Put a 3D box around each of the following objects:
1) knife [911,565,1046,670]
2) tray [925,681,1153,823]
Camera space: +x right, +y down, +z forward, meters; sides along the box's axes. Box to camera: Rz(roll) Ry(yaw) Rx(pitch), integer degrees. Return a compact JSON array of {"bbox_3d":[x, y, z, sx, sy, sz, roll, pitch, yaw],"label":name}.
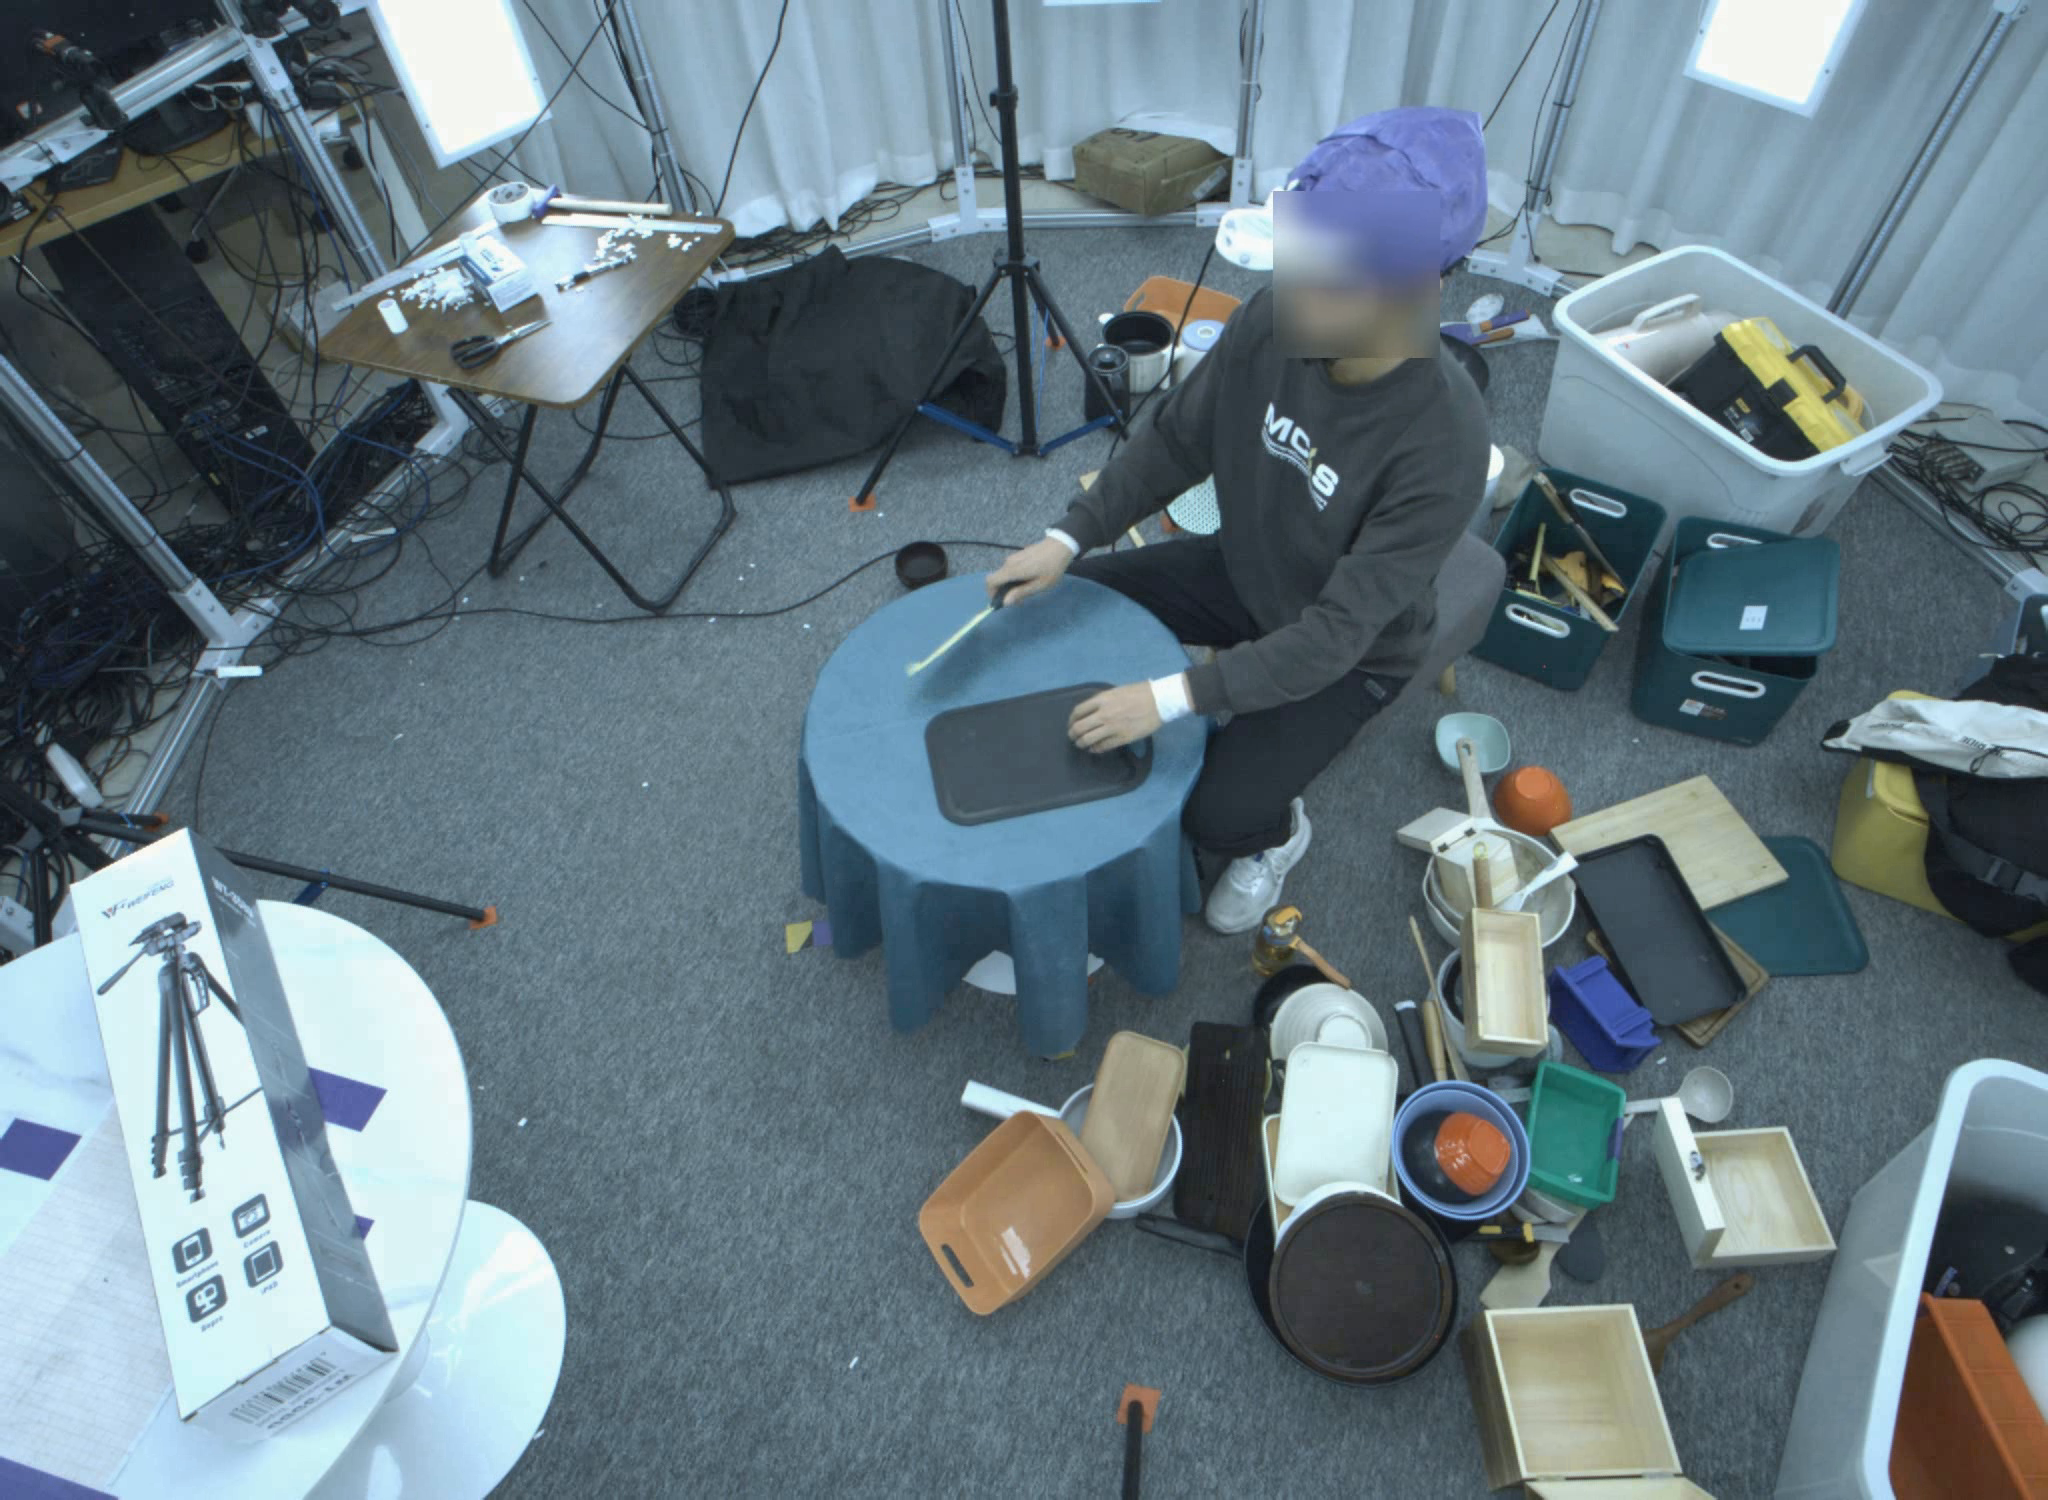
[{"bbox_3d":[-0.071,-0.203,1.890,0.292,0.079,0.027,-41,105,-28],"label":"knife"},{"bbox_3d":[0.024,-0.004,1.793,0.327,0.010,0.208,-11,55,-6],"label":"tray"}]
